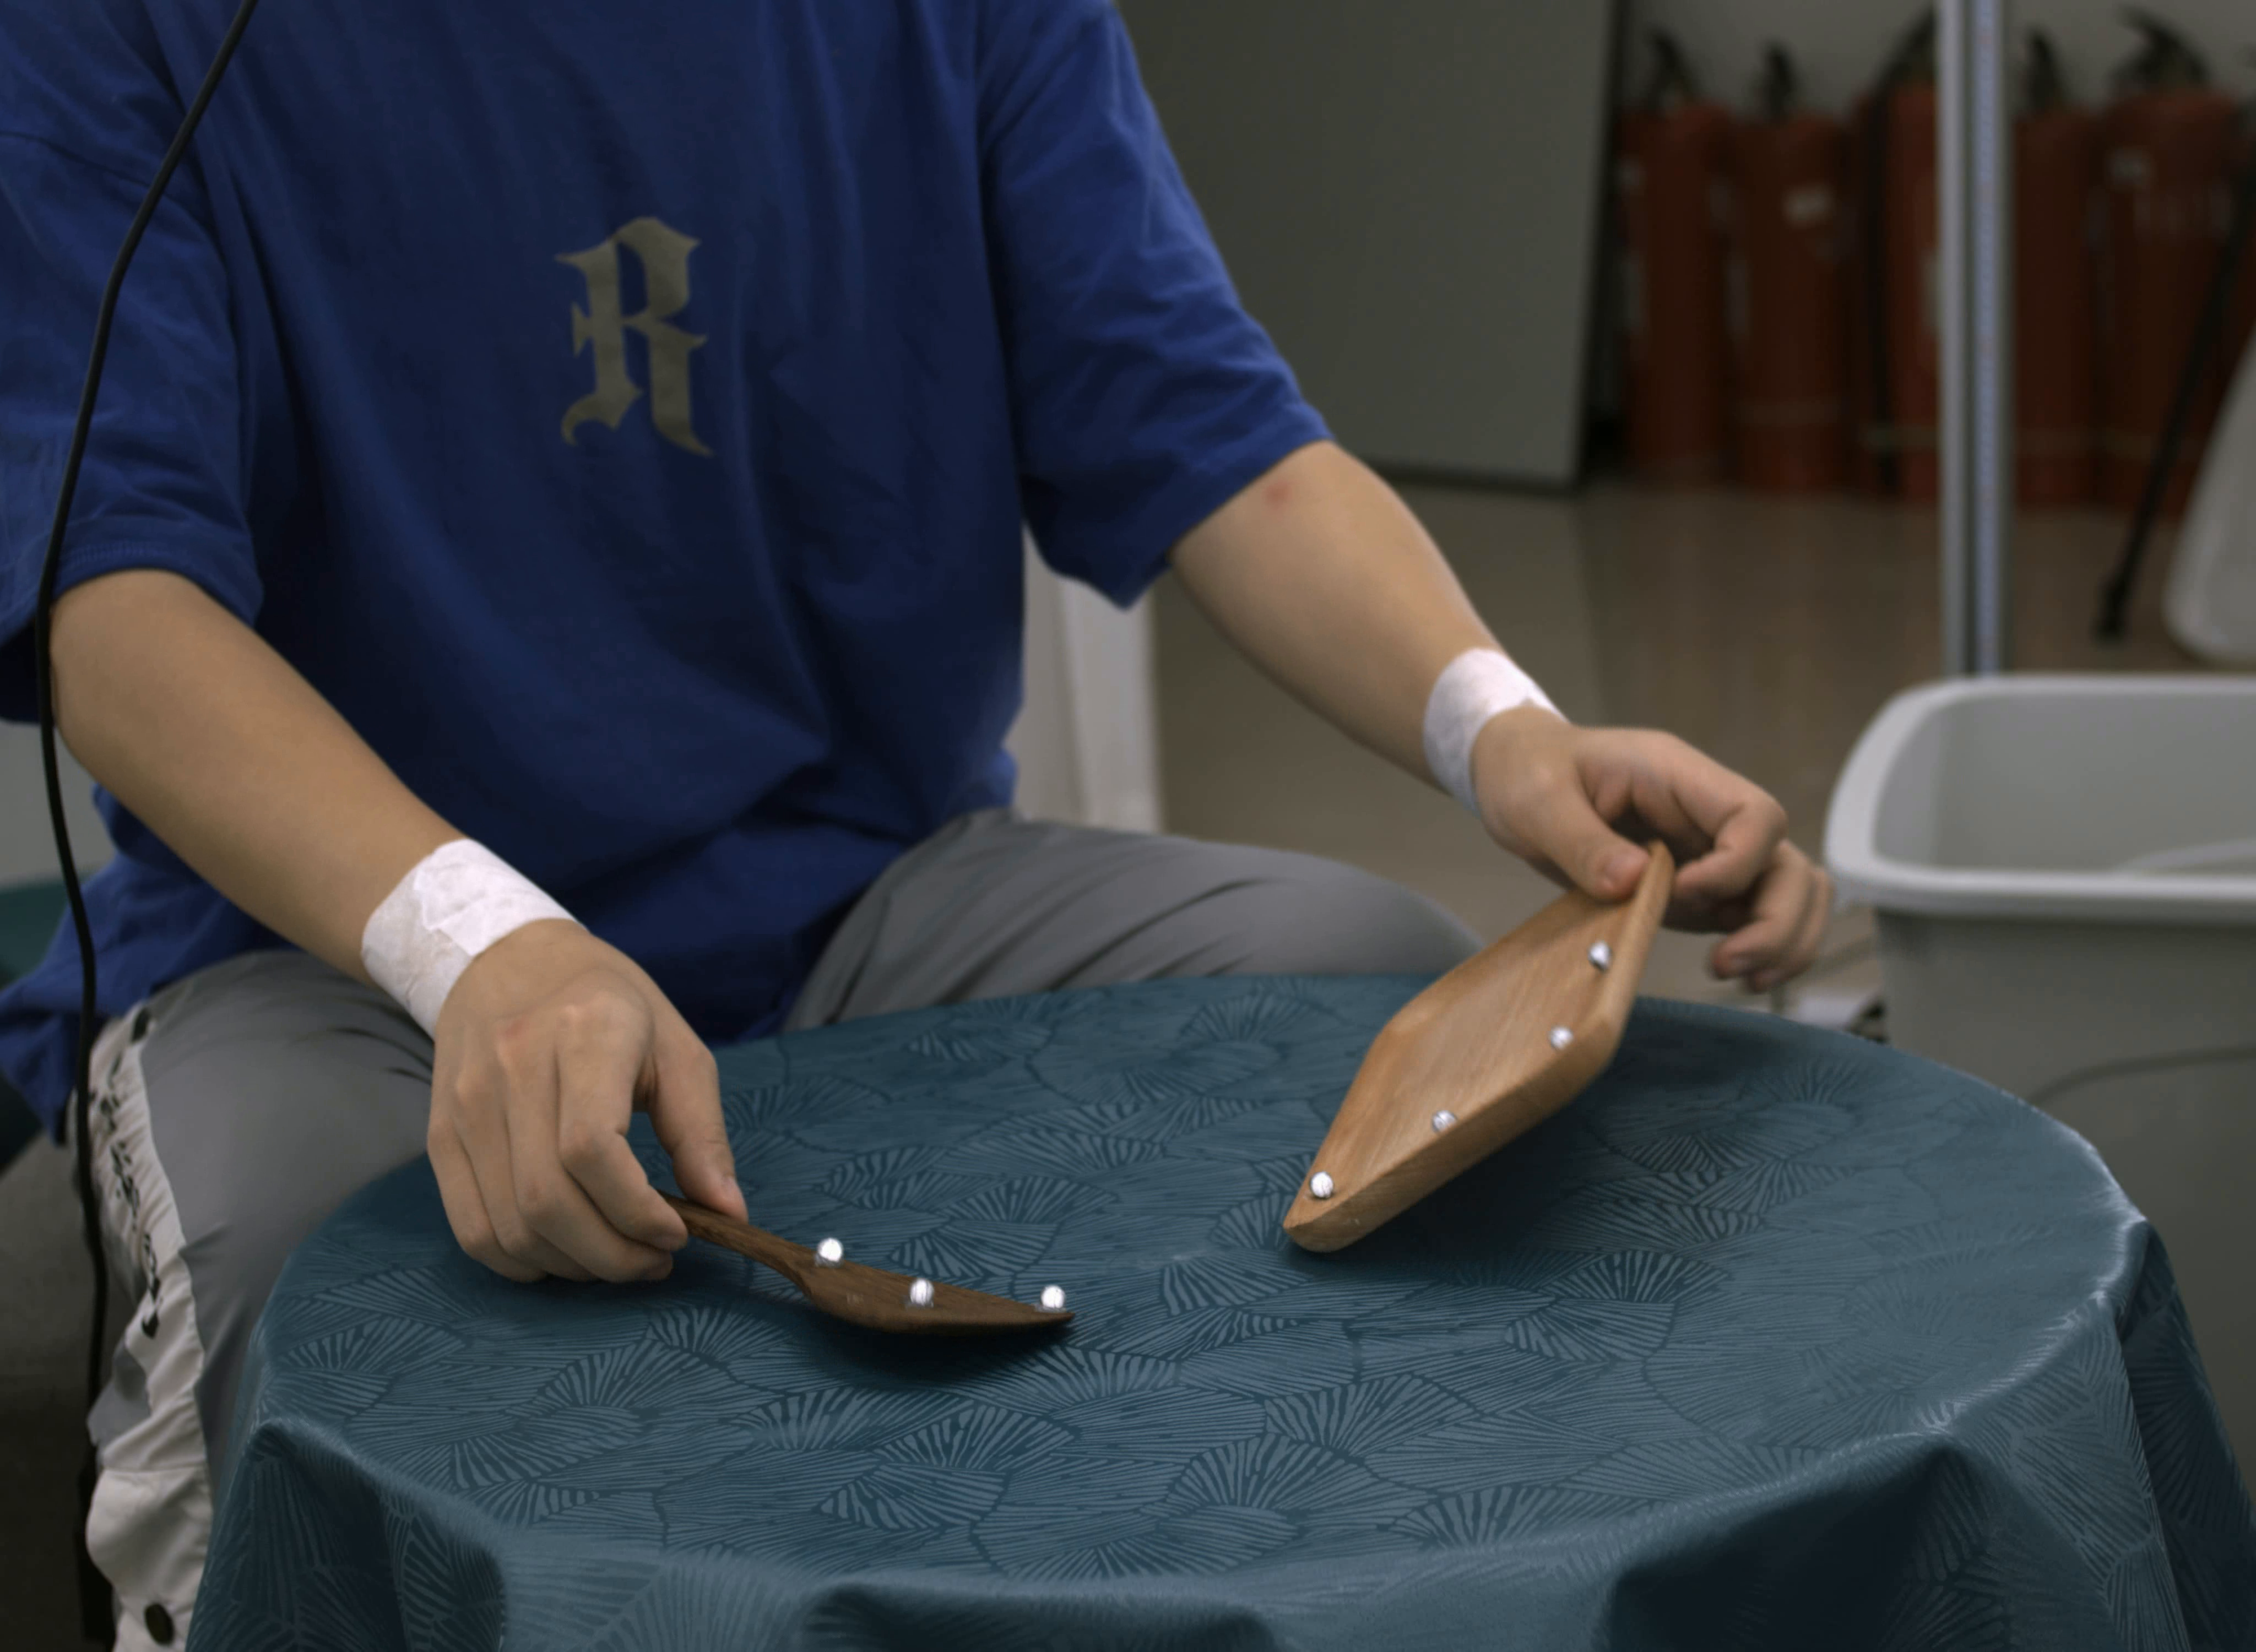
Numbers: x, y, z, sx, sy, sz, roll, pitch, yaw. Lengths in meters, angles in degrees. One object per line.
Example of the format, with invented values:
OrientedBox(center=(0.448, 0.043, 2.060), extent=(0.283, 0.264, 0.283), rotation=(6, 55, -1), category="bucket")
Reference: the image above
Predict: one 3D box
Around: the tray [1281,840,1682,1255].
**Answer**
OrientedBox(center=(0.121, 0.071, 1.776), extent=(0.131, 0.023, 0.249), rotation=(-32, 6, 19), category="tray")

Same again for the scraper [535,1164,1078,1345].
OrientedBox(center=(-0.109, 0.133, 1.681), extent=(0.213, 0.011, 0.074), rotation=(16, 10, 42), category="scraper")
